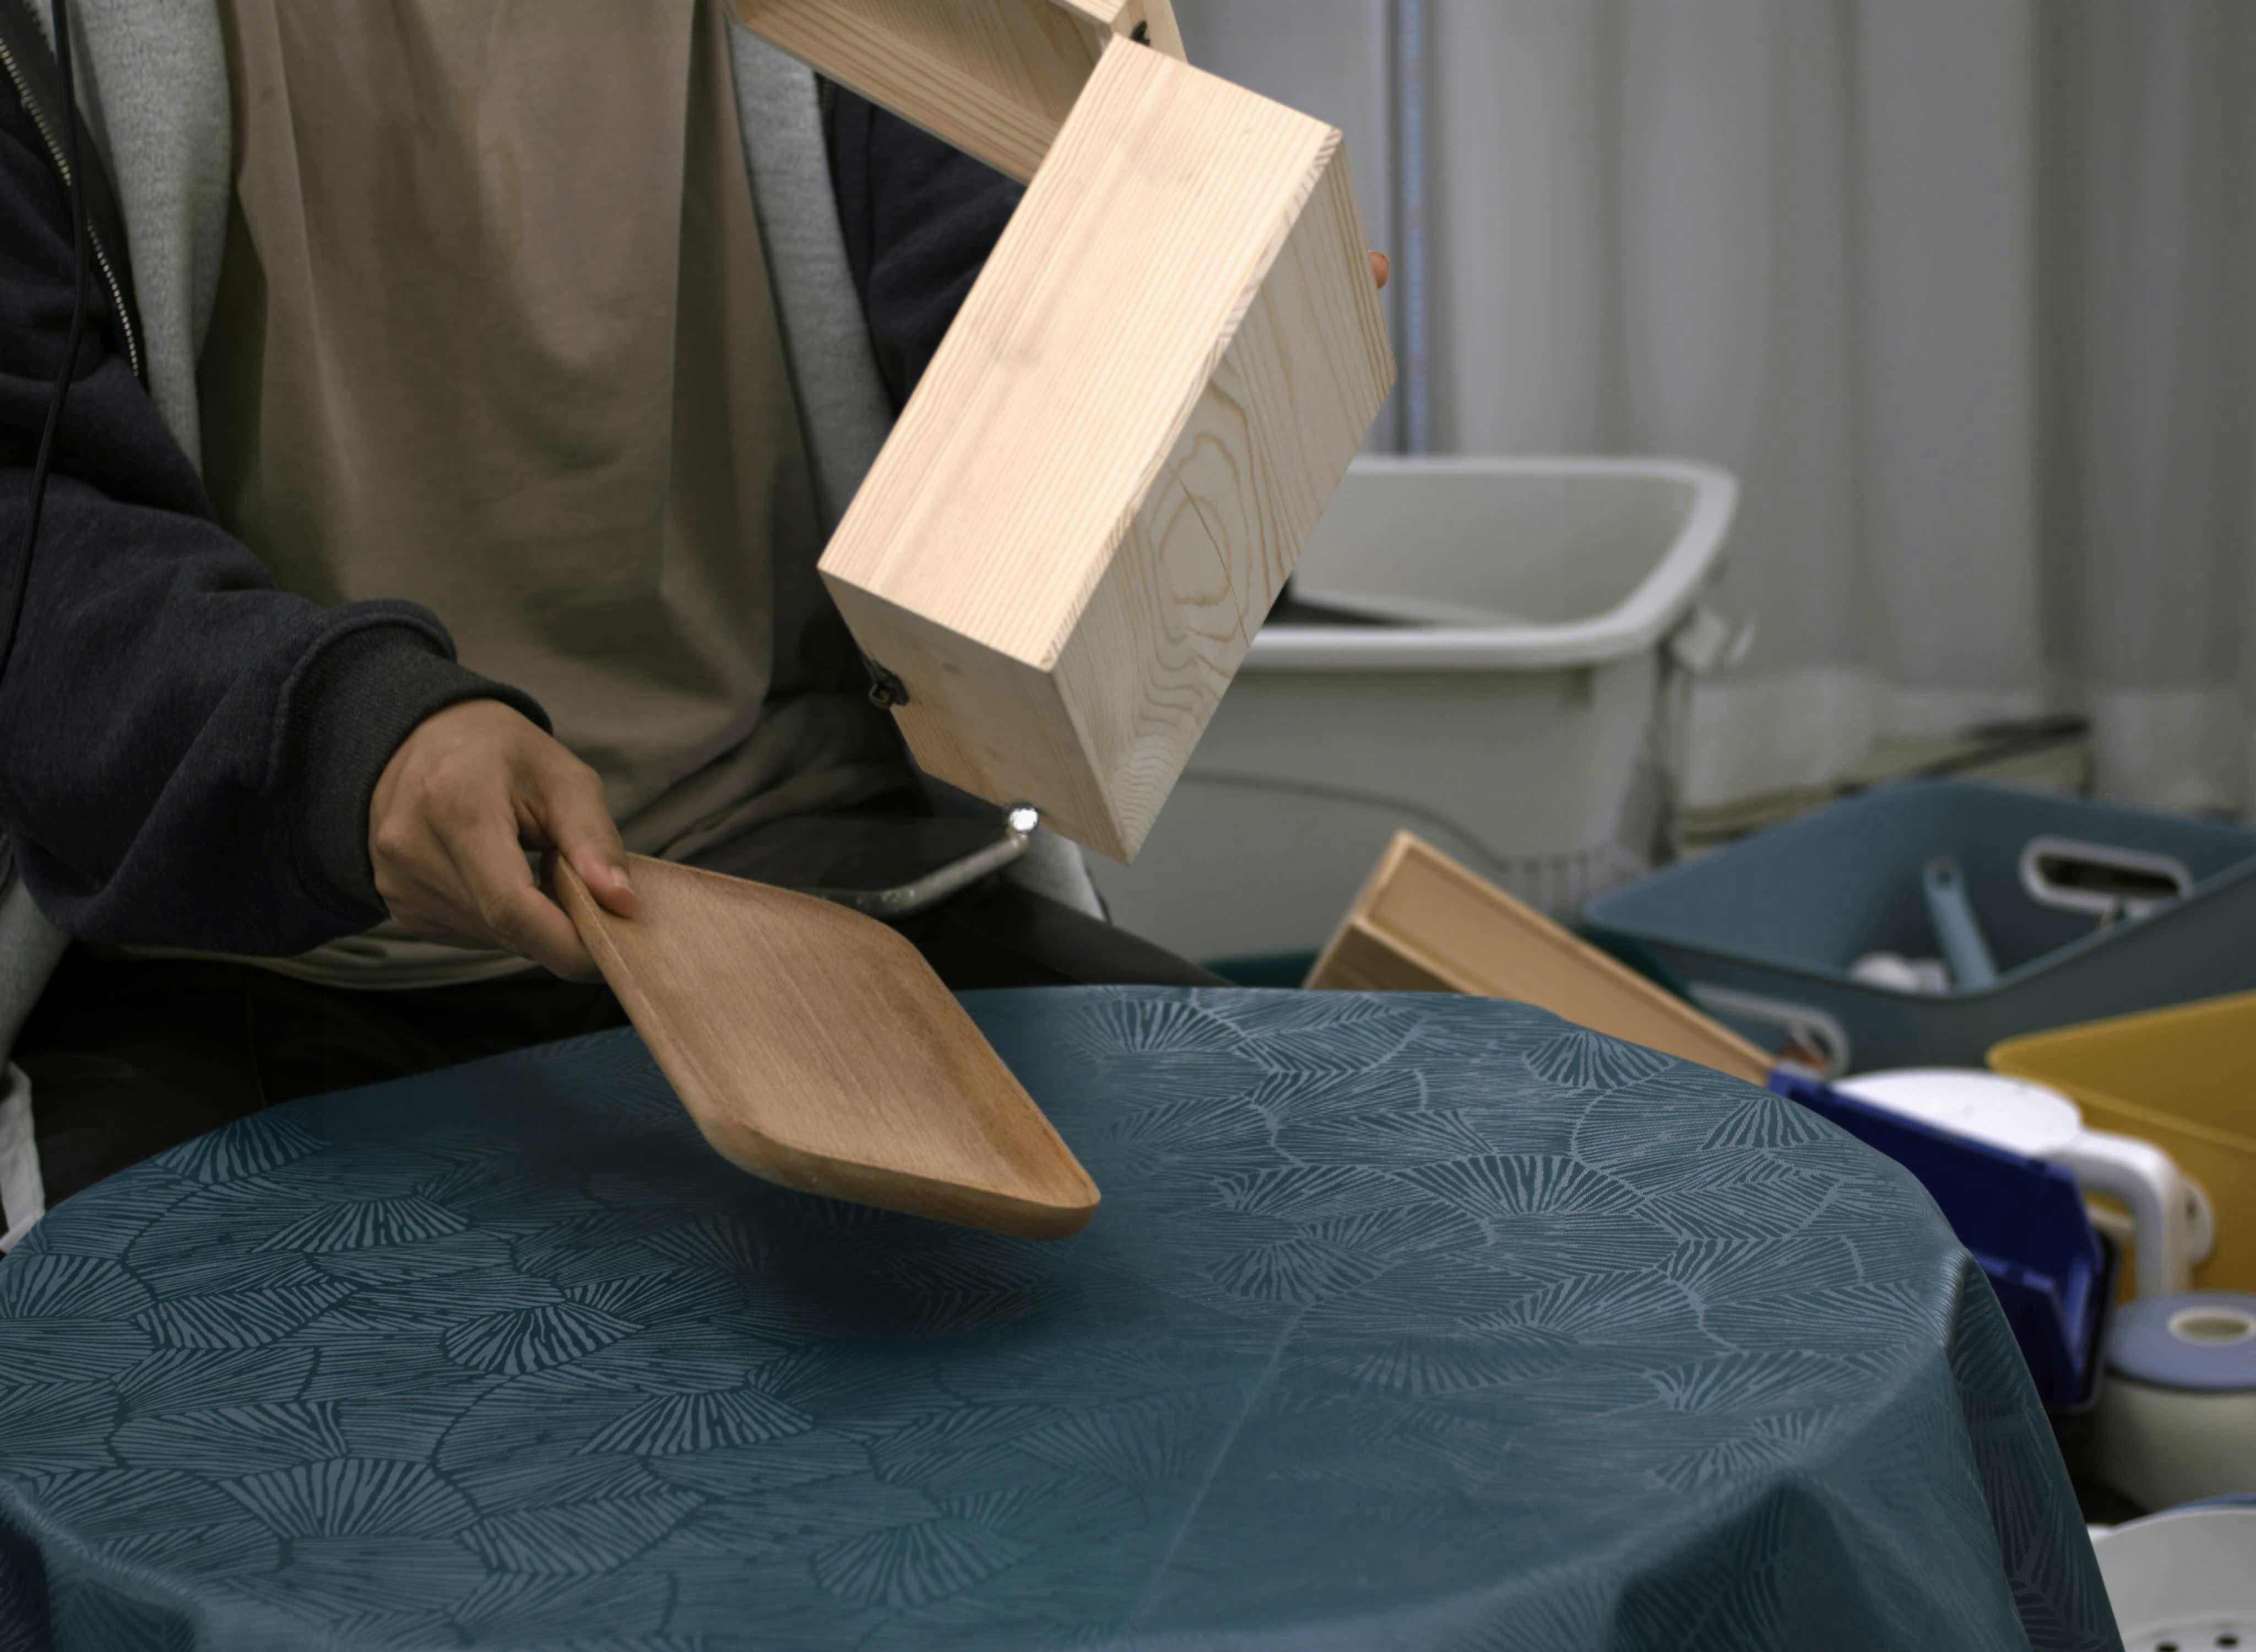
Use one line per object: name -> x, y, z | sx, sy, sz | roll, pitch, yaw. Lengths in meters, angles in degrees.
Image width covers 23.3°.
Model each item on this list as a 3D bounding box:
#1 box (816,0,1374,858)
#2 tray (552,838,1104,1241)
box -> -0.066, -0.175, 1.647 | 0.254, 0.267, 0.180 | 26, -15, 13
tray -> -0.097, 0.064, 1.681 | 0.129, 0.023, 0.253 | 17, 13, -23
